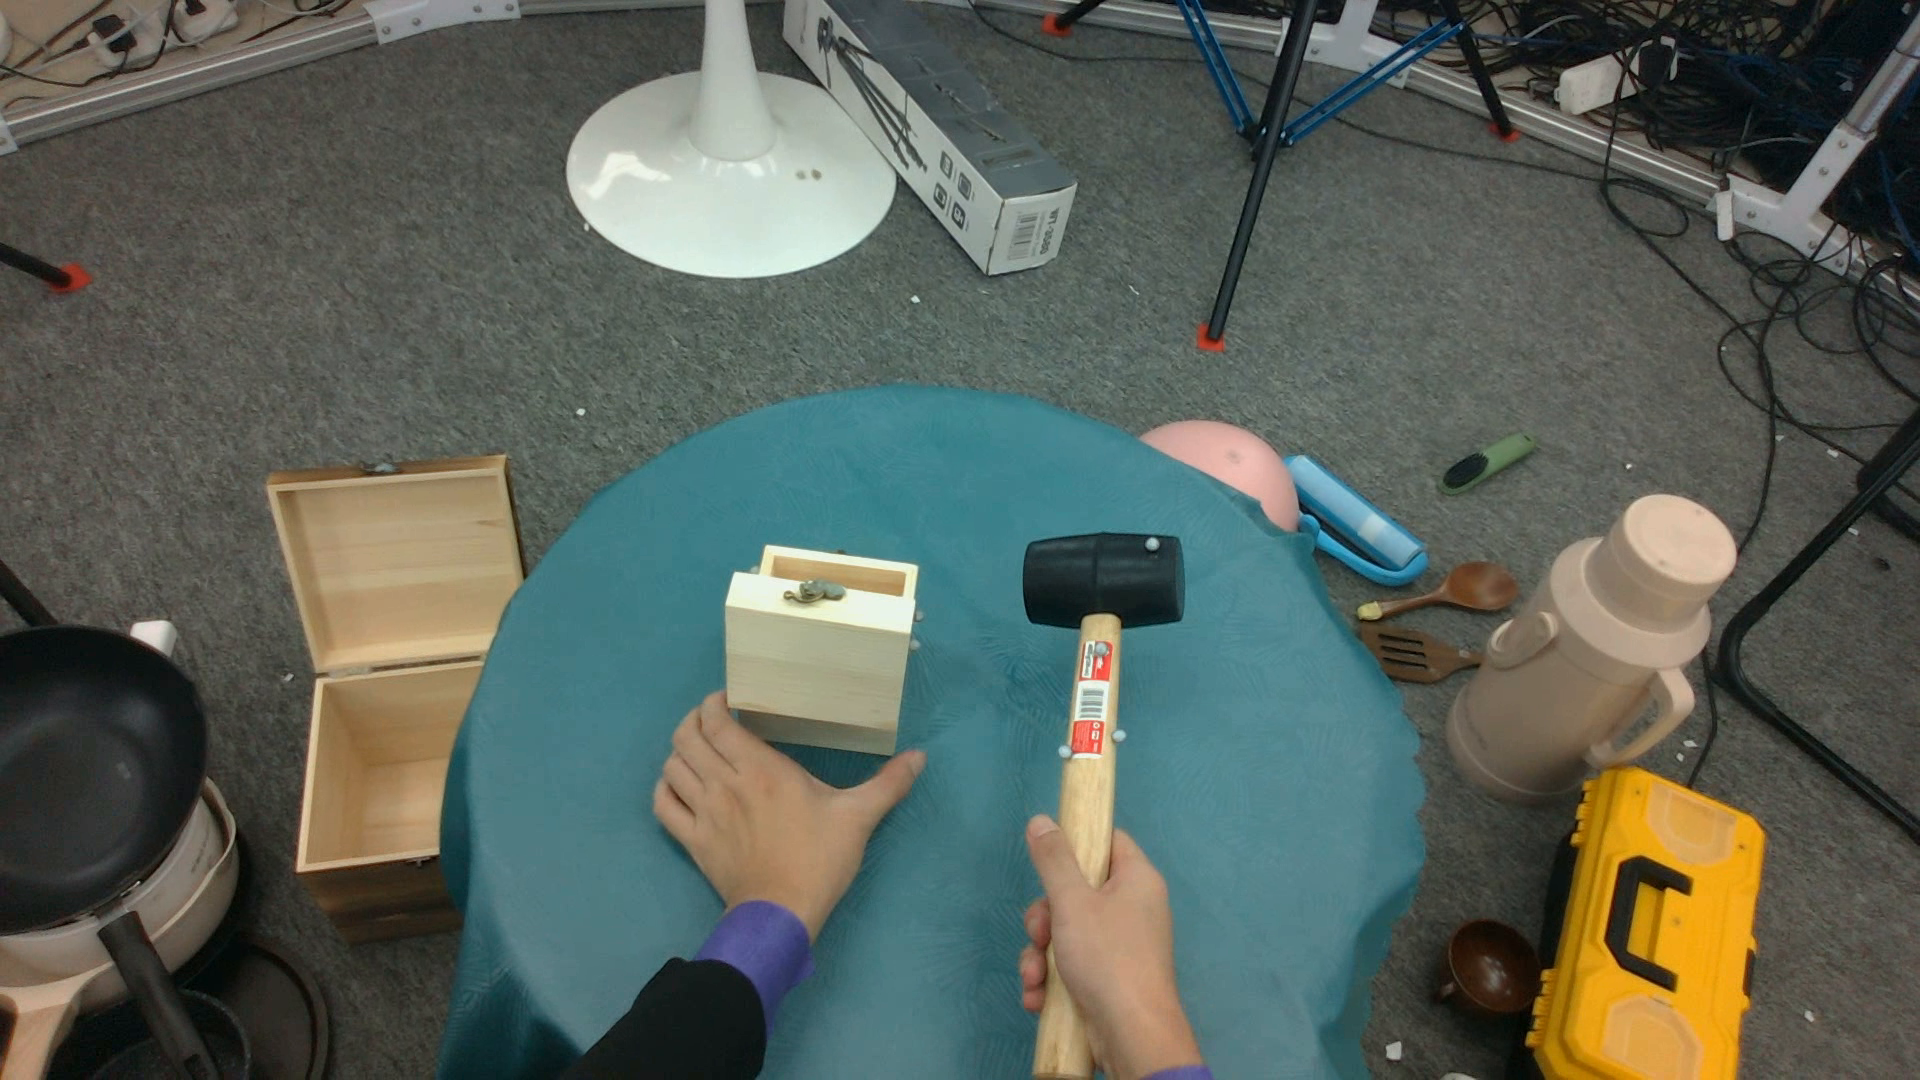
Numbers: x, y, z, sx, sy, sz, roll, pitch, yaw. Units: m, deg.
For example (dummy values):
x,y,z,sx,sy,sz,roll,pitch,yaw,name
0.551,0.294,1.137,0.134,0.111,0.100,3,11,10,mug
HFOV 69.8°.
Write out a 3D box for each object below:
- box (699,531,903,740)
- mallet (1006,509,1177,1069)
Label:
x,y,z,sx,sy,sz,roll,pitch,yaw,name
-0.091,0.041,0.841,0.102,0.183,0.134,6,56,-1,box
0.064,0.124,0.795,0.101,0.064,0.340,-4,53,21,mallet
